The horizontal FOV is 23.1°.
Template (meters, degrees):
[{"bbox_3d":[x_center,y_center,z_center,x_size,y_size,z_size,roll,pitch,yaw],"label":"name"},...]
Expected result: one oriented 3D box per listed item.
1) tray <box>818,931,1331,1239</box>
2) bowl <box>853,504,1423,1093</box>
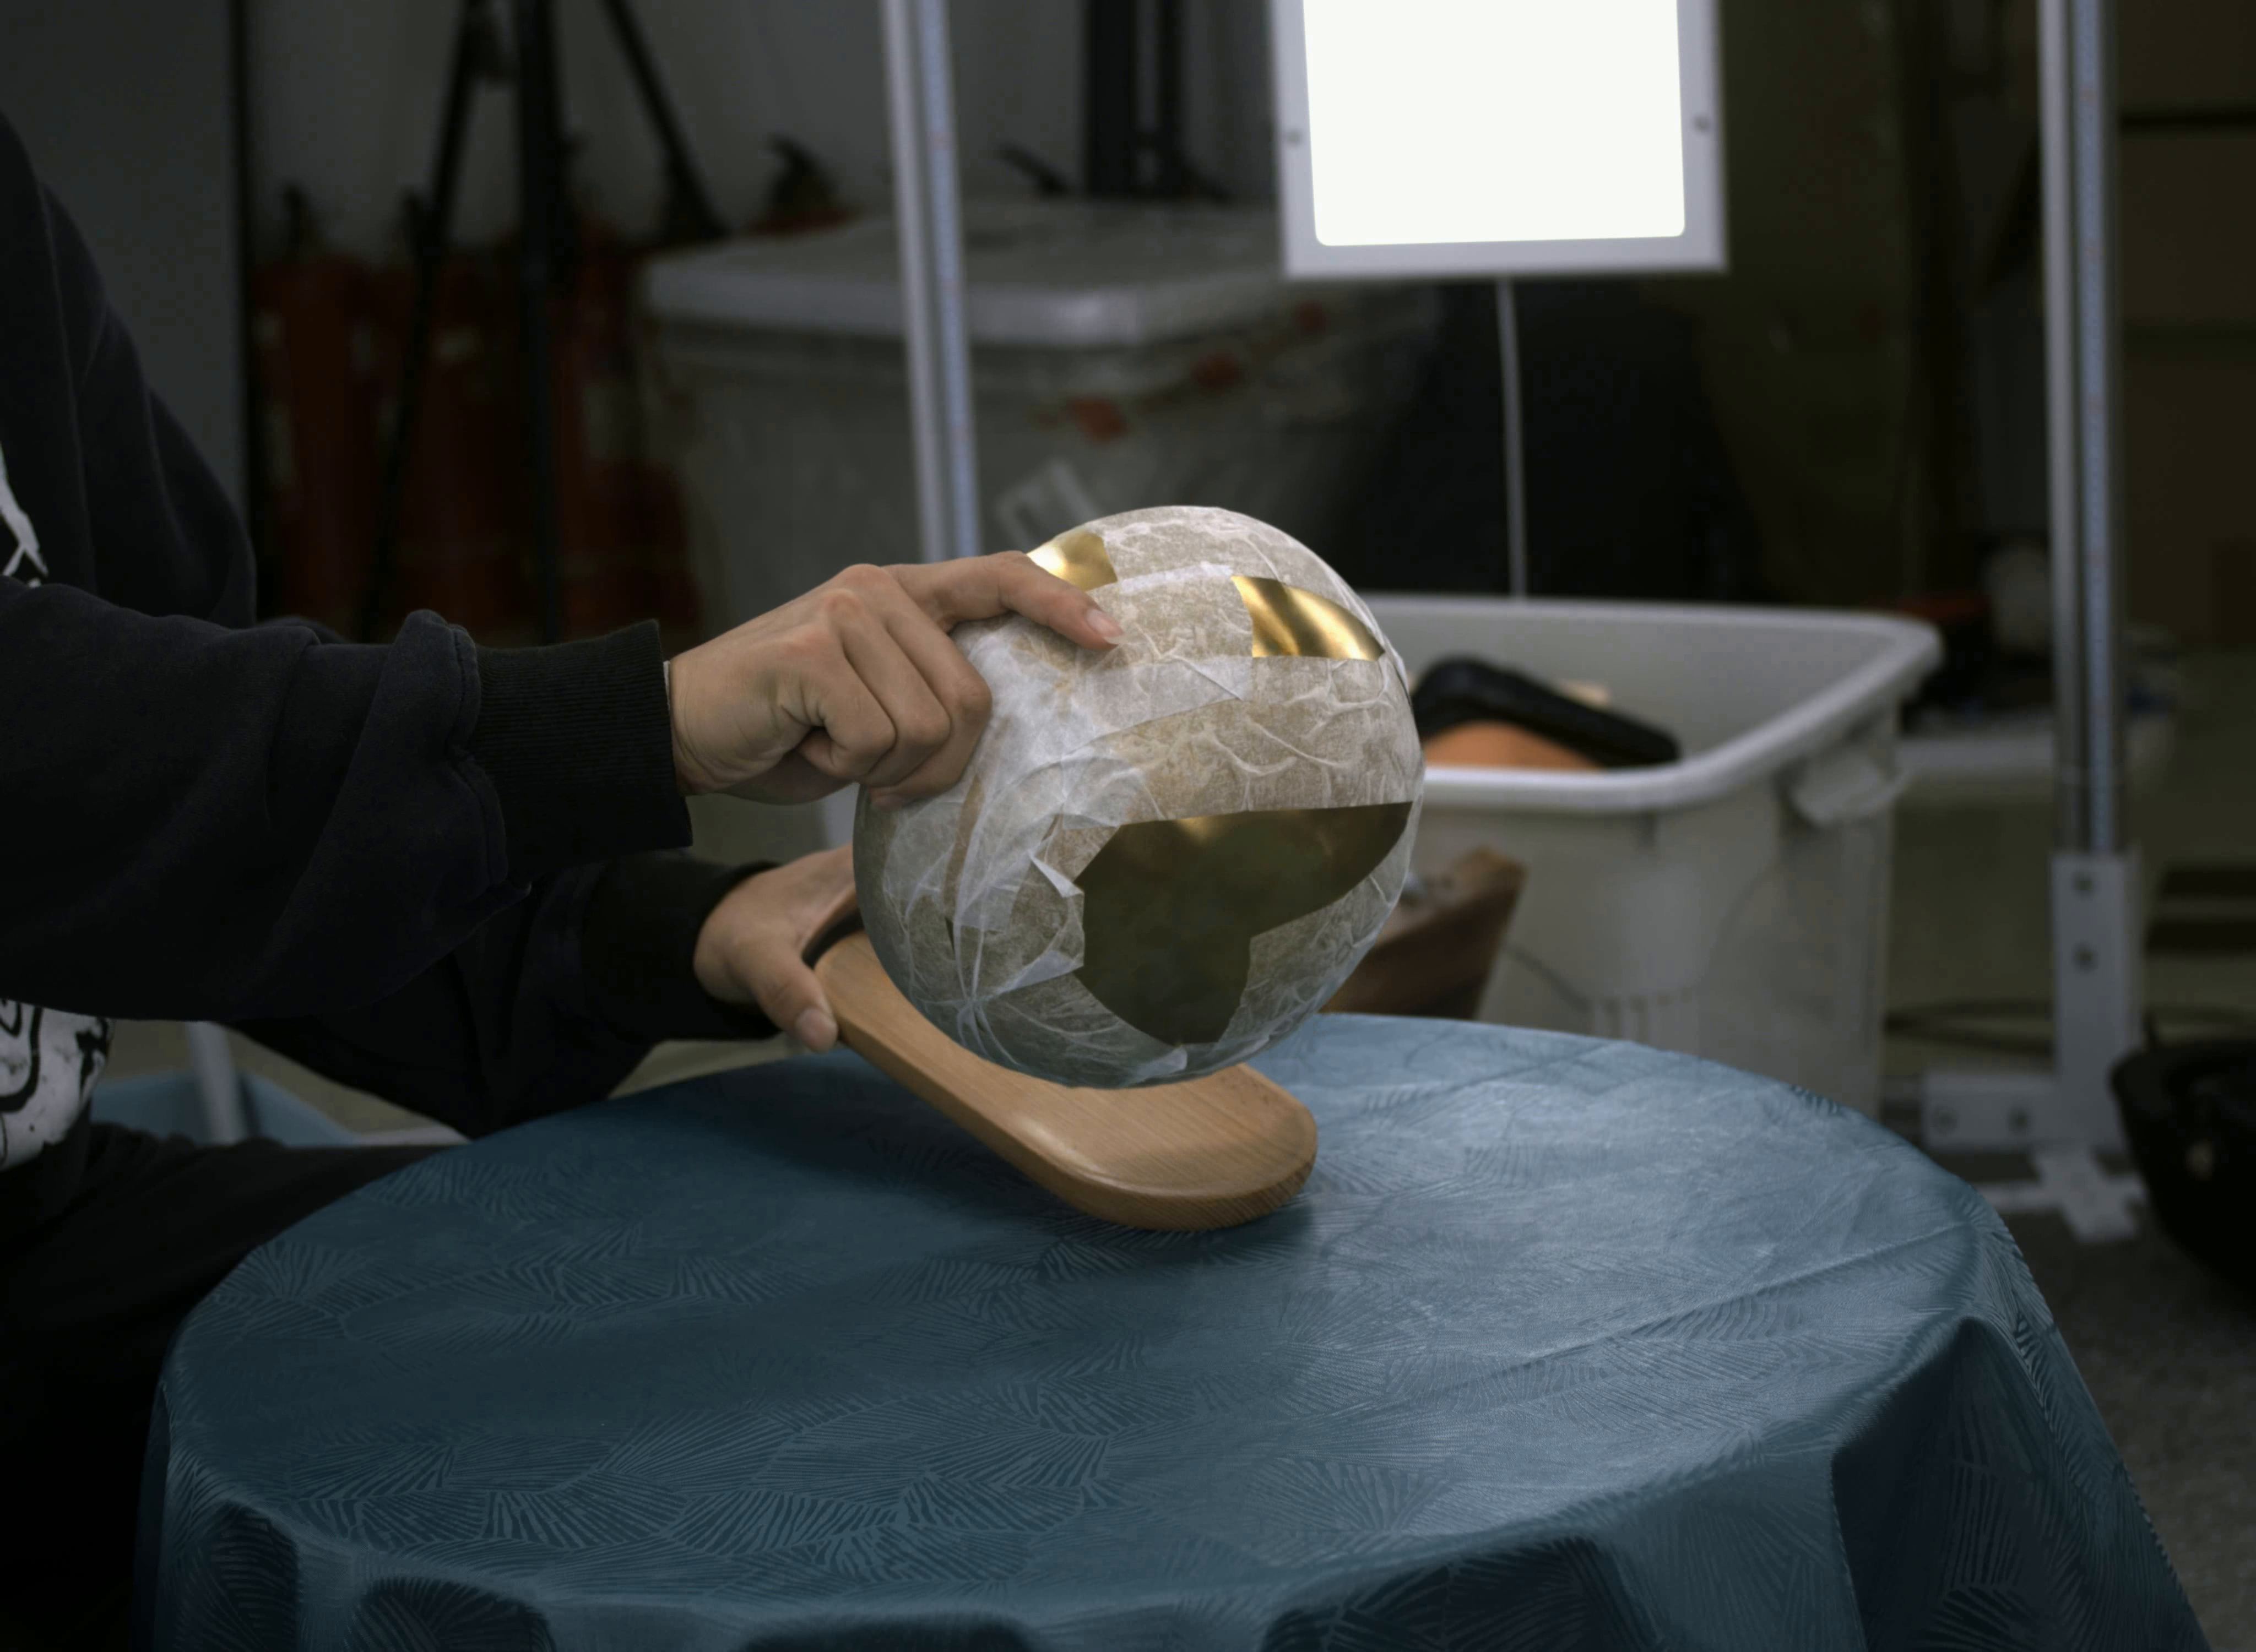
[{"bbox_3d":[-0.021,0.087,1.933,0.099,0.020,0.235,-19,34,-32],"label":"tray"},{"bbox_3d":[0.018,0.009,1.792,0.210,0.216,0.096,-11,30,-26],"label":"bowl"}]
